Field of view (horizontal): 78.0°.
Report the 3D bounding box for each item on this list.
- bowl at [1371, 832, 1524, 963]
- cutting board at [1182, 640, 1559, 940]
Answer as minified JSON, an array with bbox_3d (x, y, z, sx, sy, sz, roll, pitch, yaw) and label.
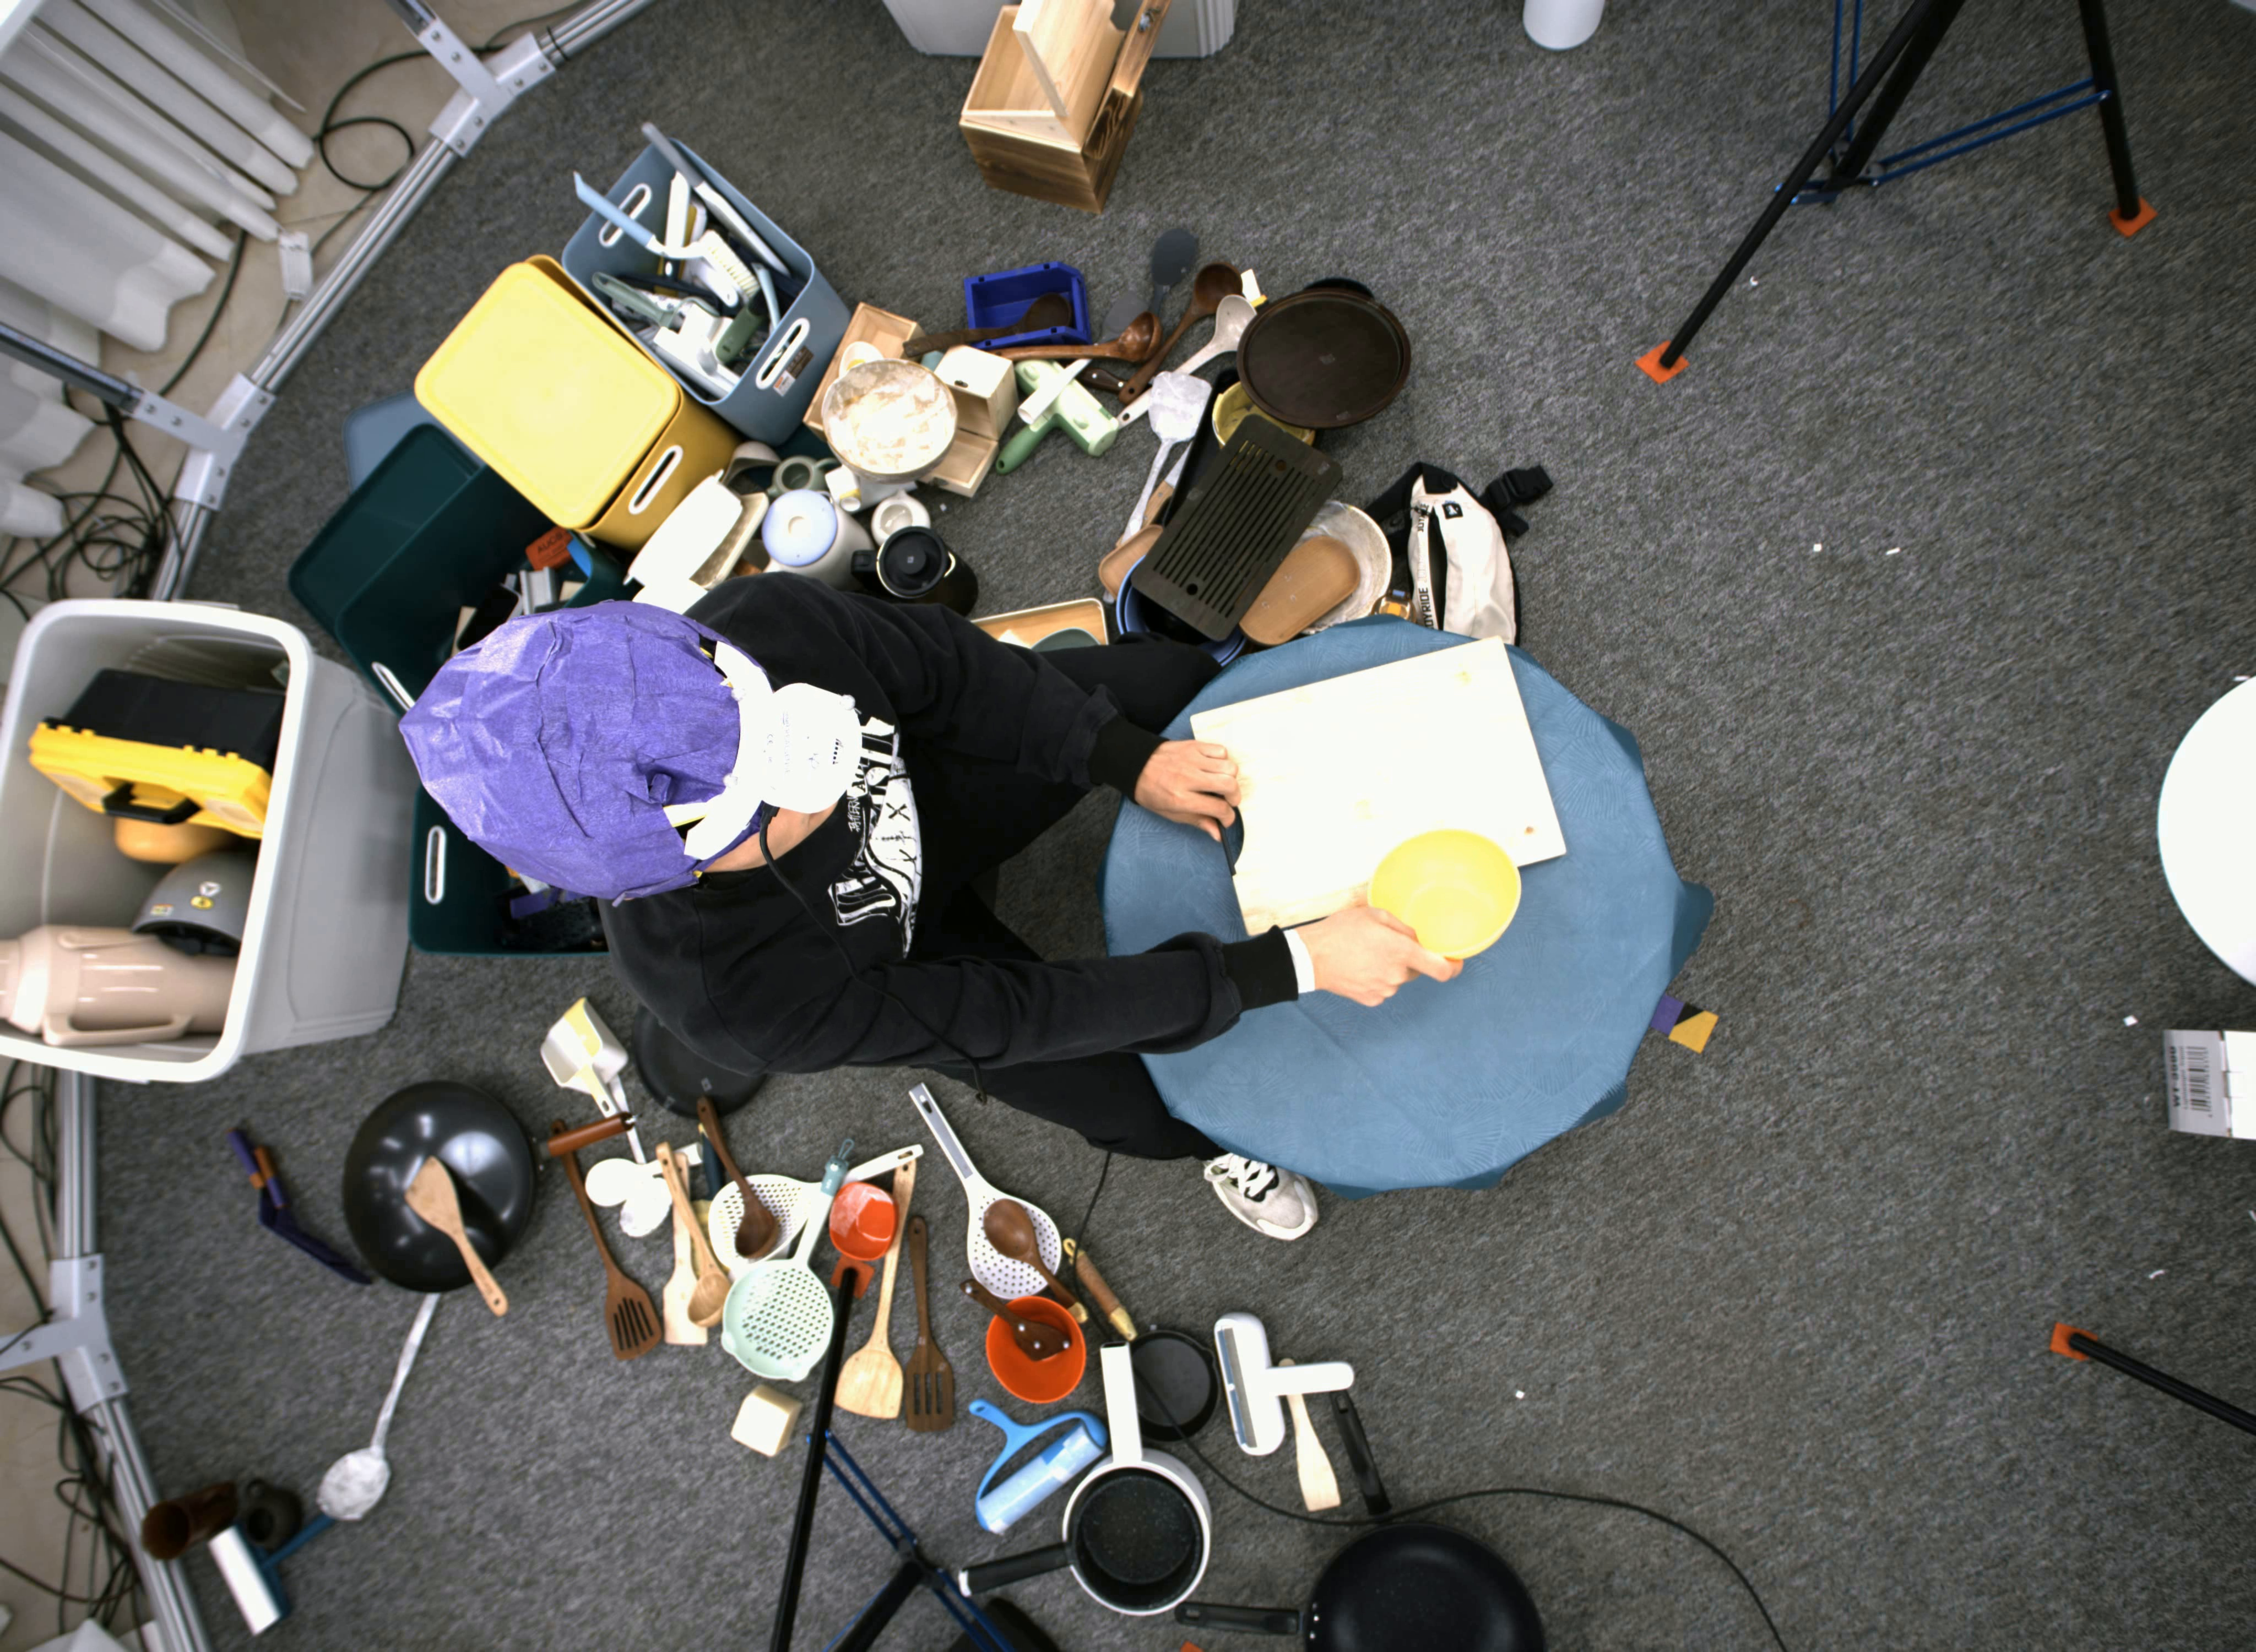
[{"bbox_3d":[0.311,0.078,1.335,0.146,0.061,0.141,-10,52,13],"label":"bowl"},{"bbox_3d":[0.255,-0.040,1.445,0.349,0.024,0.249,-16,83,2],"label":"cutting board"}]
